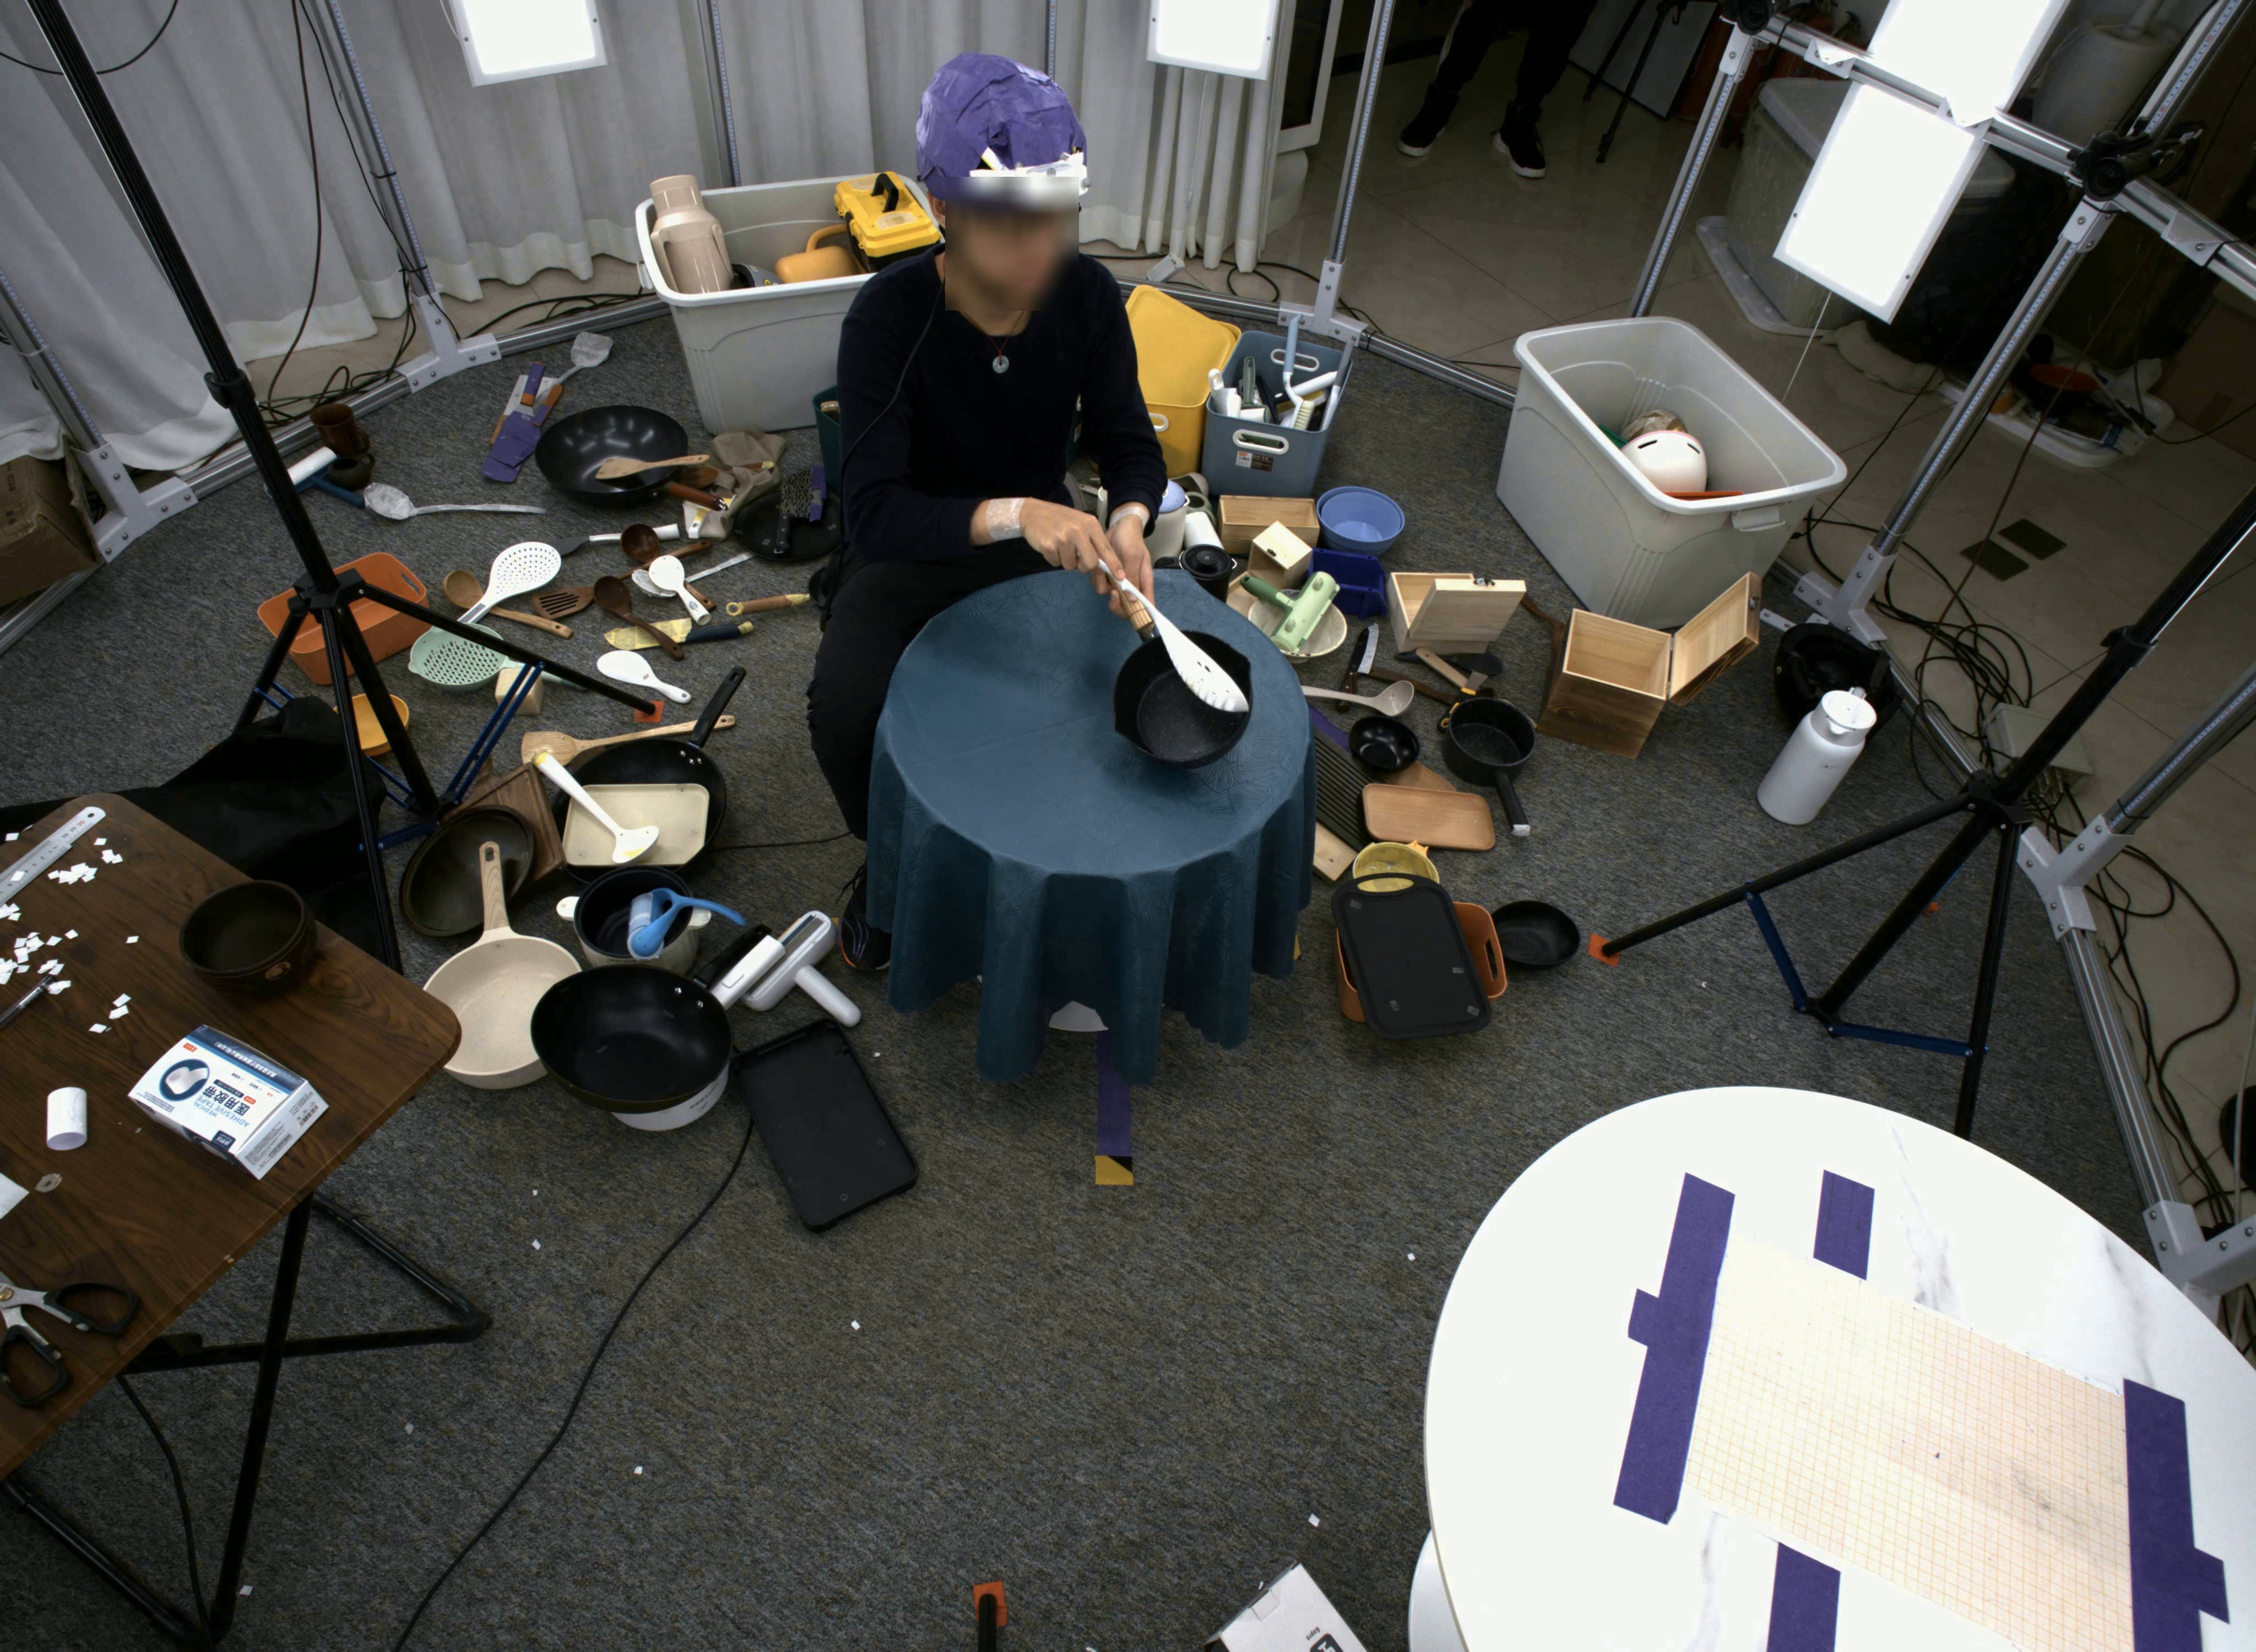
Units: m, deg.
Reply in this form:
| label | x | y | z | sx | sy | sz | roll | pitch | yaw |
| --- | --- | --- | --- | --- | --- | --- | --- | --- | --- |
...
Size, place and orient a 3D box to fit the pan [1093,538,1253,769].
| label | x | y | z | sx | sy | sz | roll | pitch | yaw |
| --- | --- | --- | --- | --- | --- | --- | --- | --- | --- |
| pan | 0.040 | -0.232 | 1.741 | 0.207 | 0.106 | 0.348 | -29 | 71 | 2 |

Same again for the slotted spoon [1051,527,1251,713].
| label | x | y | z | sx | sy | sz | roll | pitch | yaw |
| --- | --- | --- | --- | --- | --- | --- | --- | --- | --- |
| slotted spoon | 0.029 | -0.268 | 1.658 | 0.050 | 0.136 | 0.350 | -40 | 82 | 2 |
